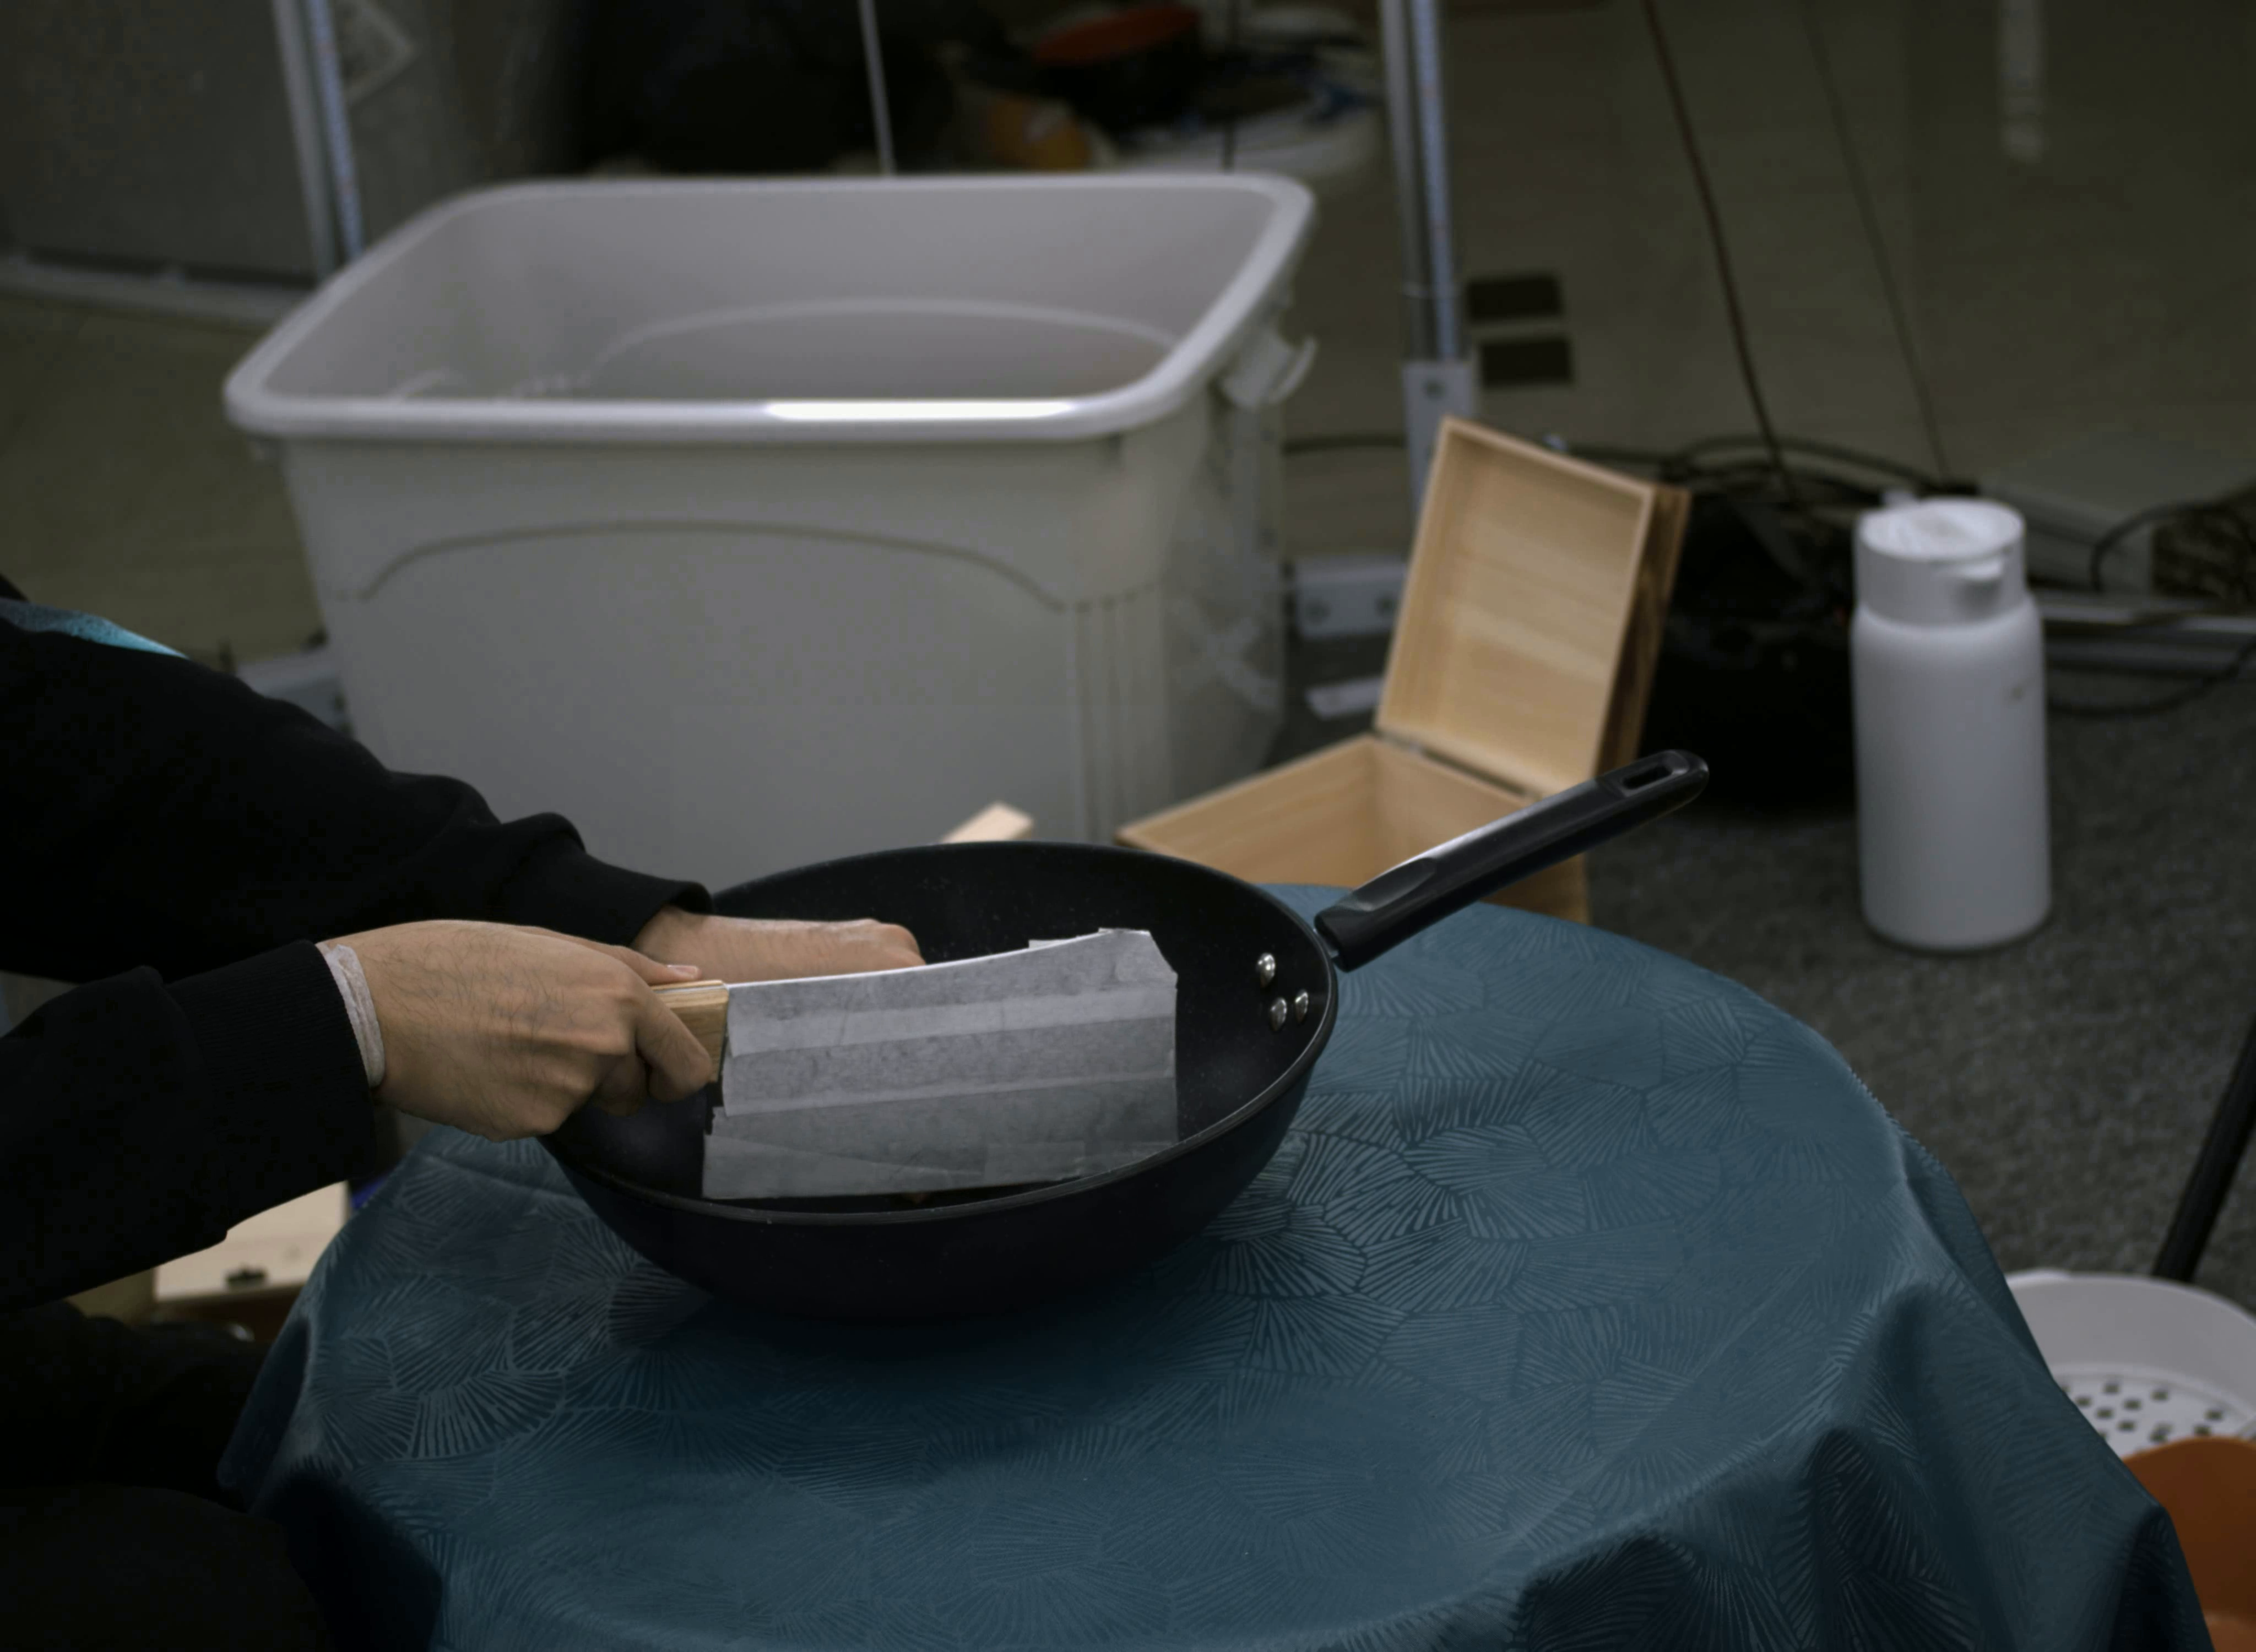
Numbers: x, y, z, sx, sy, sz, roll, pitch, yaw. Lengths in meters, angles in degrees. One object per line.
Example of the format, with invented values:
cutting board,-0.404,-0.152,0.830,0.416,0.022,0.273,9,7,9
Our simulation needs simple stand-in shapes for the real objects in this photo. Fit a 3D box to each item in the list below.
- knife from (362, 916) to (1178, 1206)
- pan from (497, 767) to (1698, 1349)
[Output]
knife,-0.125,0.087,2.083,0.315,0.115,0.021,0,22,-19
pan,-0.001,0.083,2.141,0.475,0.113,0.306,-14,28,-16
